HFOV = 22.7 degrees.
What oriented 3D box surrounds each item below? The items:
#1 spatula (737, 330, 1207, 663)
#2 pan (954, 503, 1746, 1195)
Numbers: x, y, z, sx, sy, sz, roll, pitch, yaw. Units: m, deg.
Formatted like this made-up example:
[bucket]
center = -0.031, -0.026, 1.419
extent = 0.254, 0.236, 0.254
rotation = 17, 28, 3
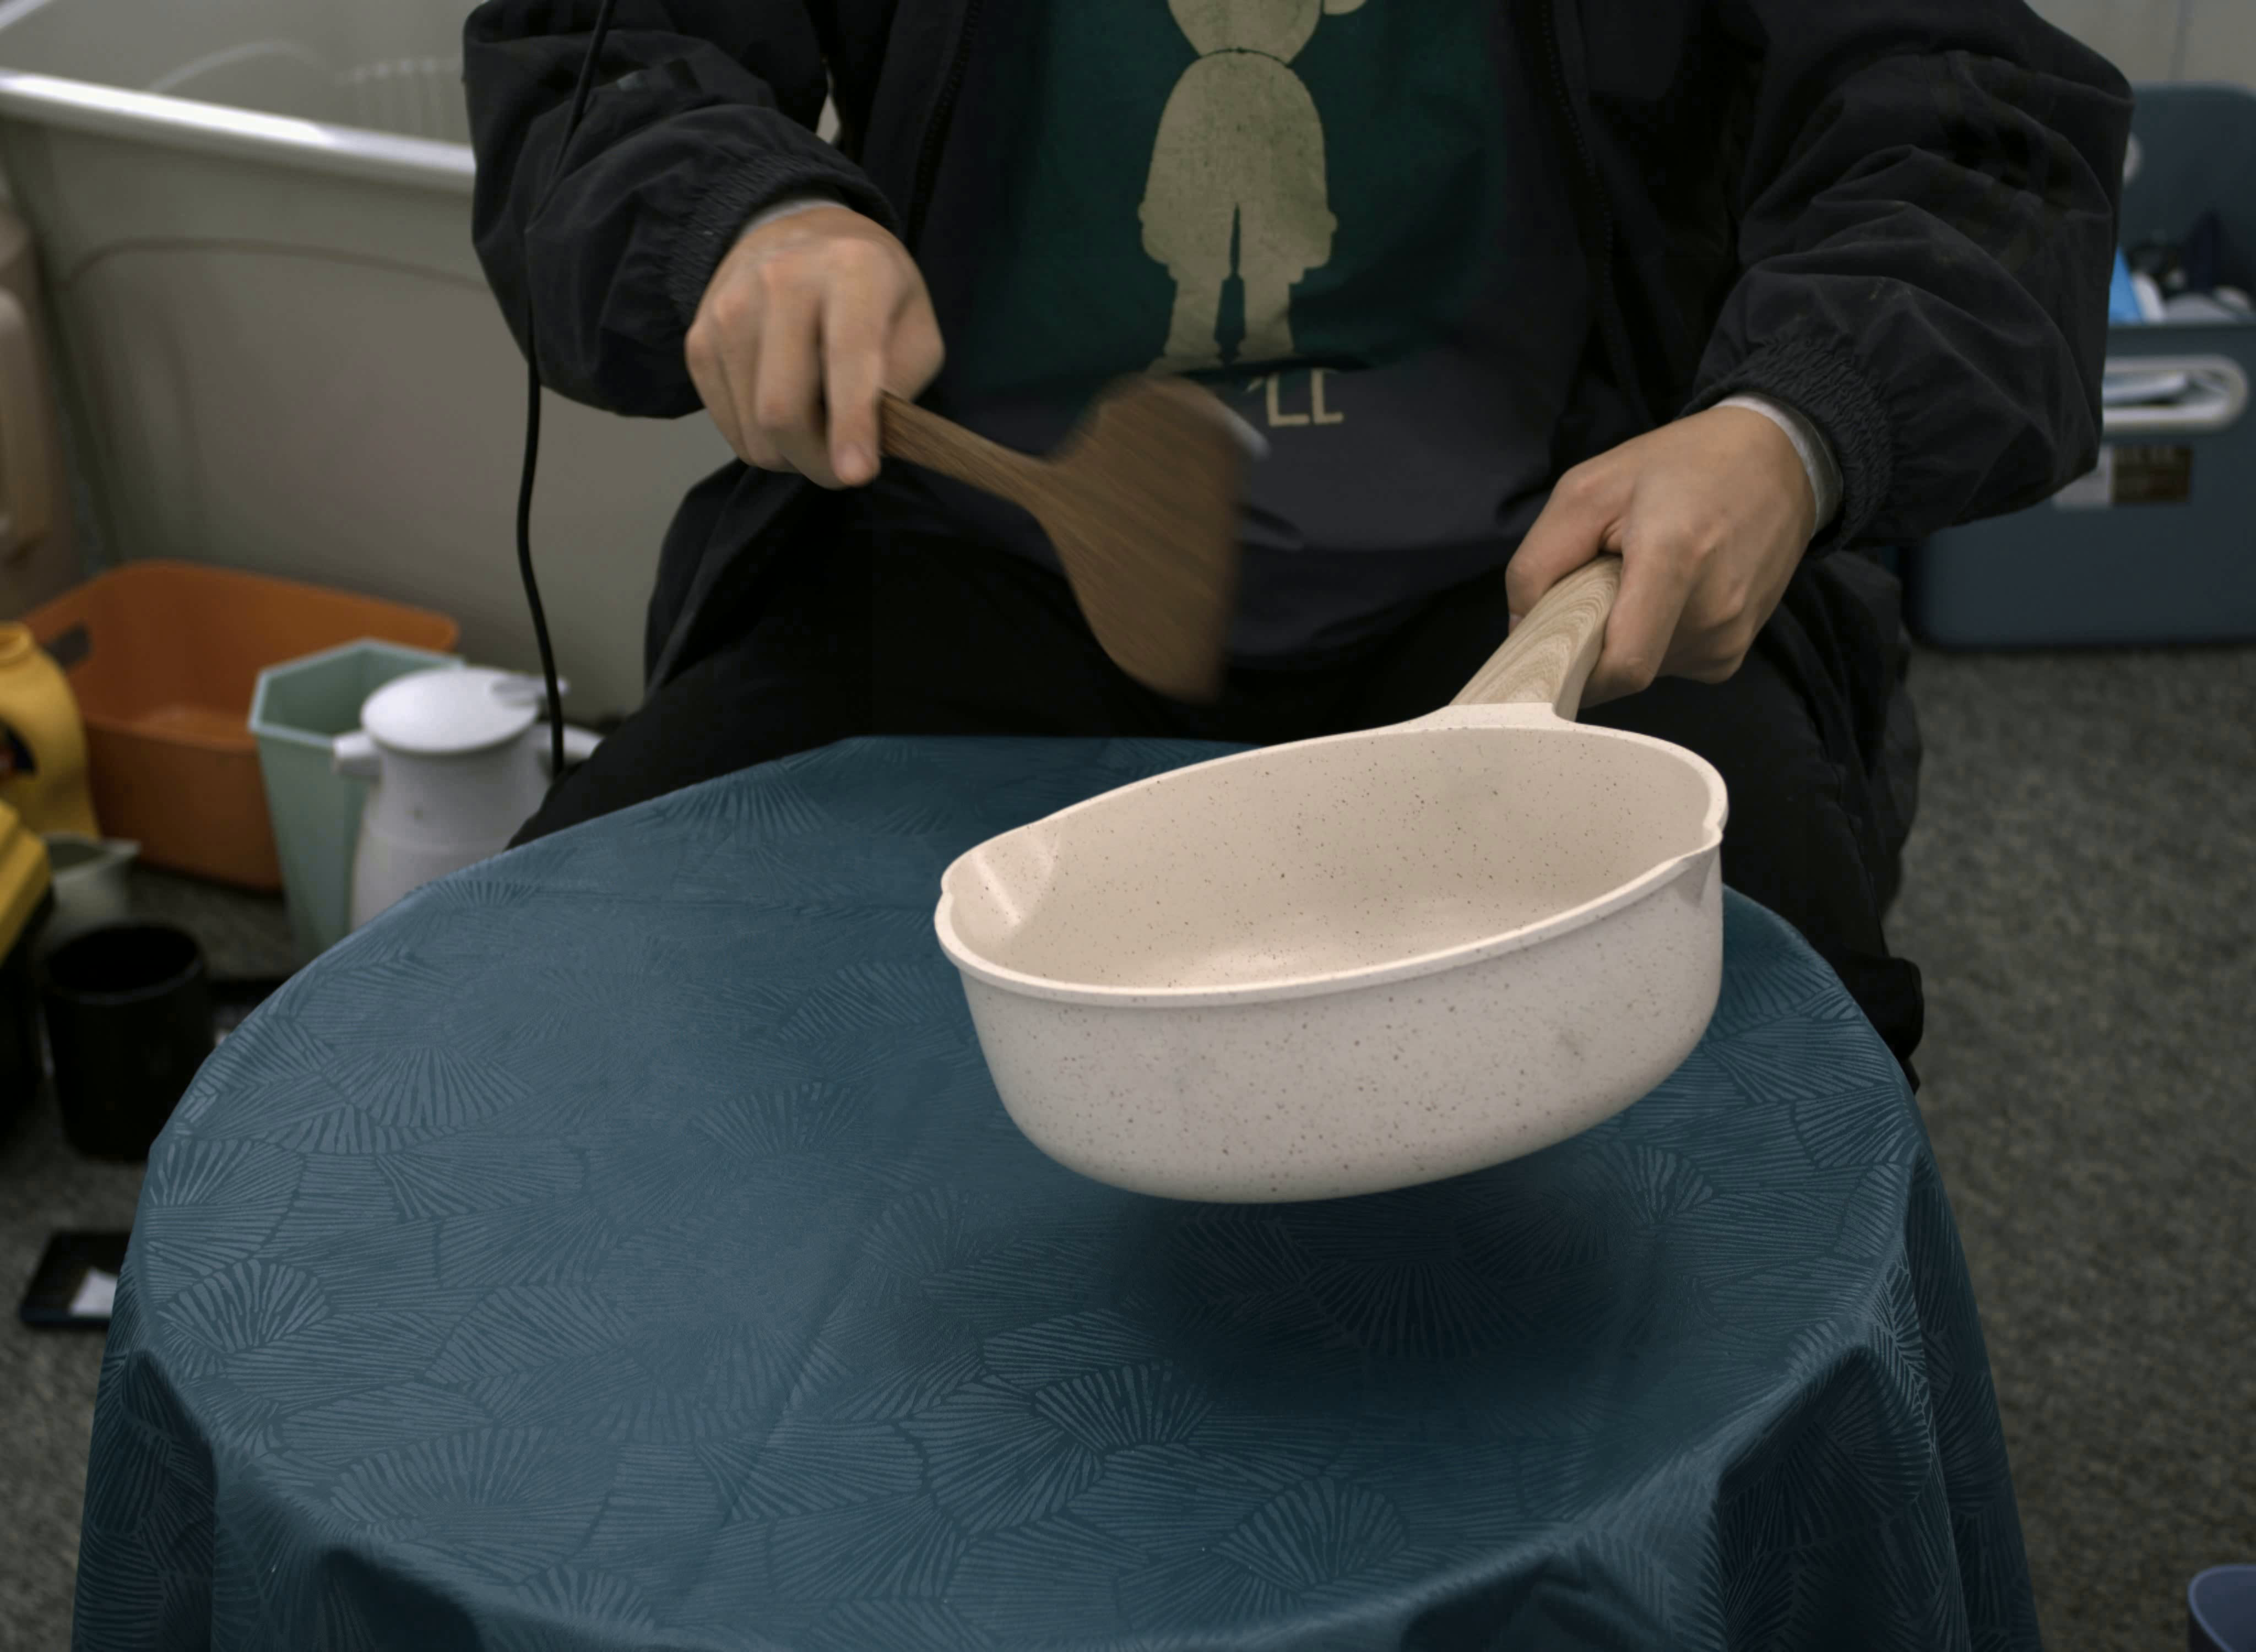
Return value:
[spatula]
center = -0.057, -0.128, 1.845
extent = 0.016, 0.096, 0.386
rotation = -2, 12, -23
[pan]
center = 0.112, 0.005, 1.841
extent = 0.260, 0.101, 0.441
rotation = -4, 18, 27
